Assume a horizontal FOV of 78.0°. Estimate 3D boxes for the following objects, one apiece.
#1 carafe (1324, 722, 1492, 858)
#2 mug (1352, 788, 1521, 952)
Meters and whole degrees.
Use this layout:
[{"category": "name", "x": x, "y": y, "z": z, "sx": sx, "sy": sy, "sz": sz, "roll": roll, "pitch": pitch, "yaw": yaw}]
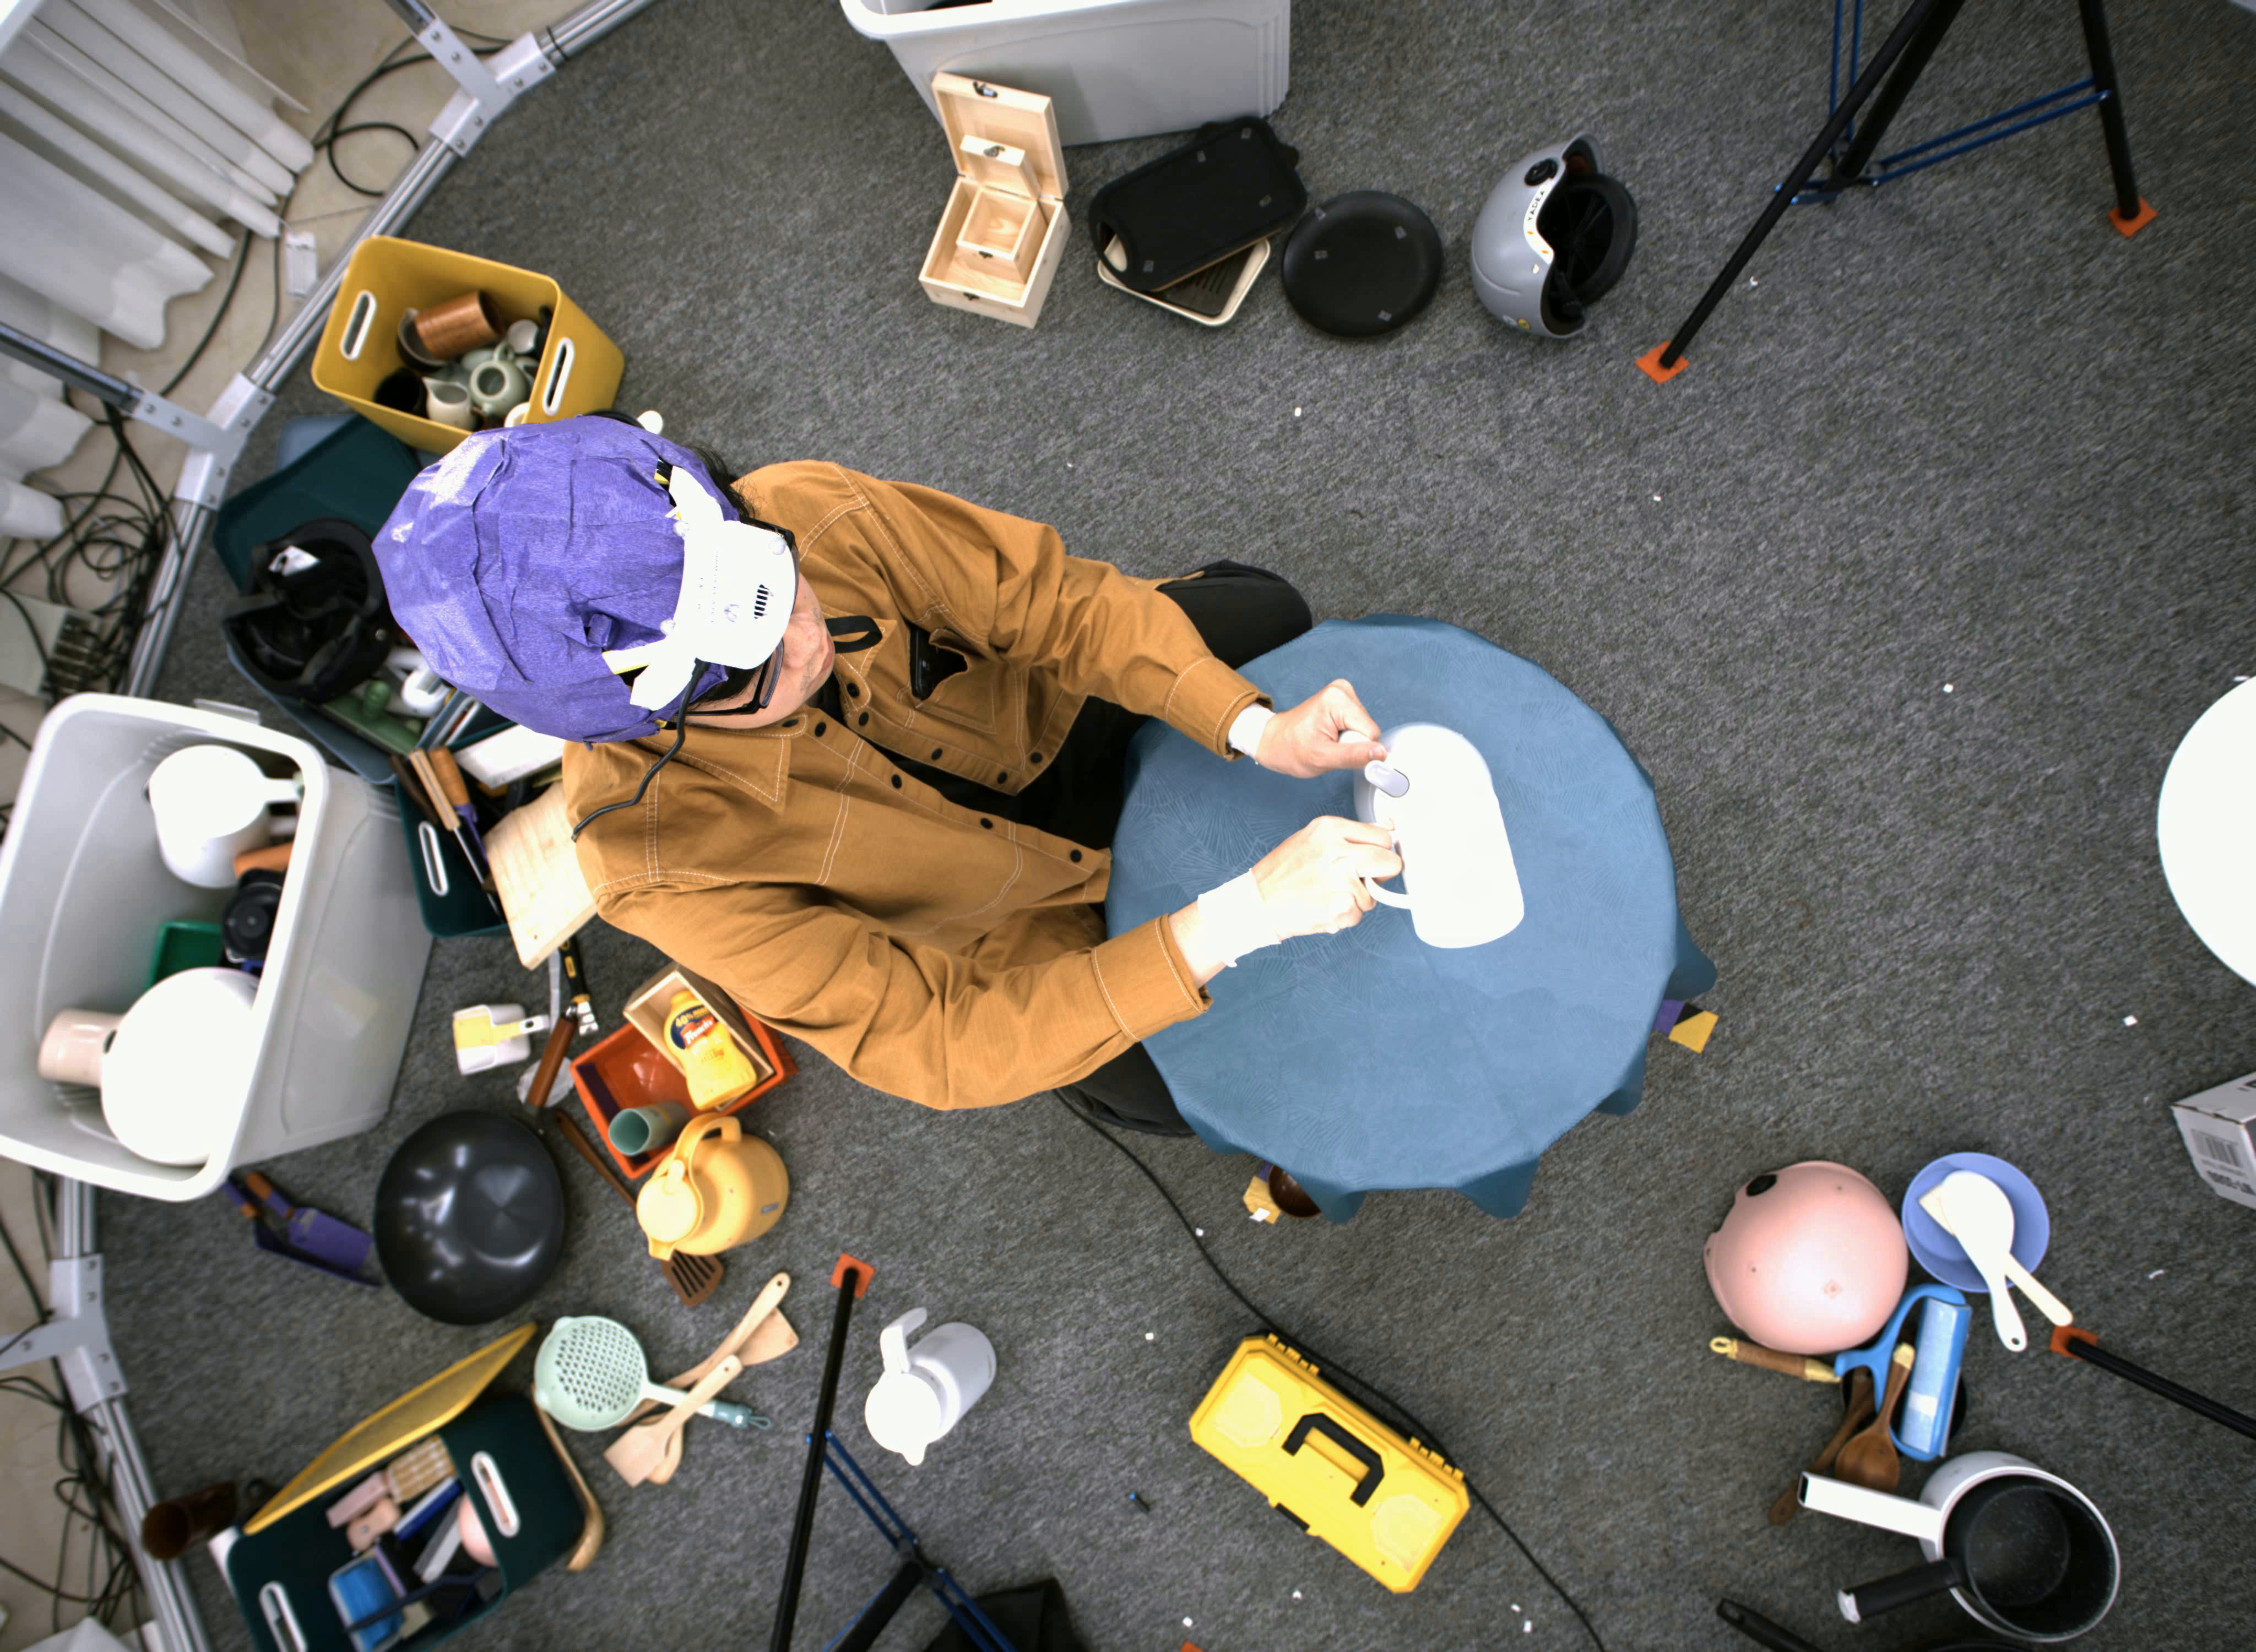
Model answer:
[{"category": "carafe", "x": 0.255, "y": -0.038, "z": 1.269, "sx": 0.167, "sy": 0.246, "sz": 0.134, "roll": 36, "pitch": 102, "yaw": 5}, {"category": "mug", "x": 0.235, "y": 0.035, "z": 1.060, "sx": 0.118, "sy": 0.087, "sz": 0.100, "roll": -5, "pitch": 62, "yaw": -3}]
